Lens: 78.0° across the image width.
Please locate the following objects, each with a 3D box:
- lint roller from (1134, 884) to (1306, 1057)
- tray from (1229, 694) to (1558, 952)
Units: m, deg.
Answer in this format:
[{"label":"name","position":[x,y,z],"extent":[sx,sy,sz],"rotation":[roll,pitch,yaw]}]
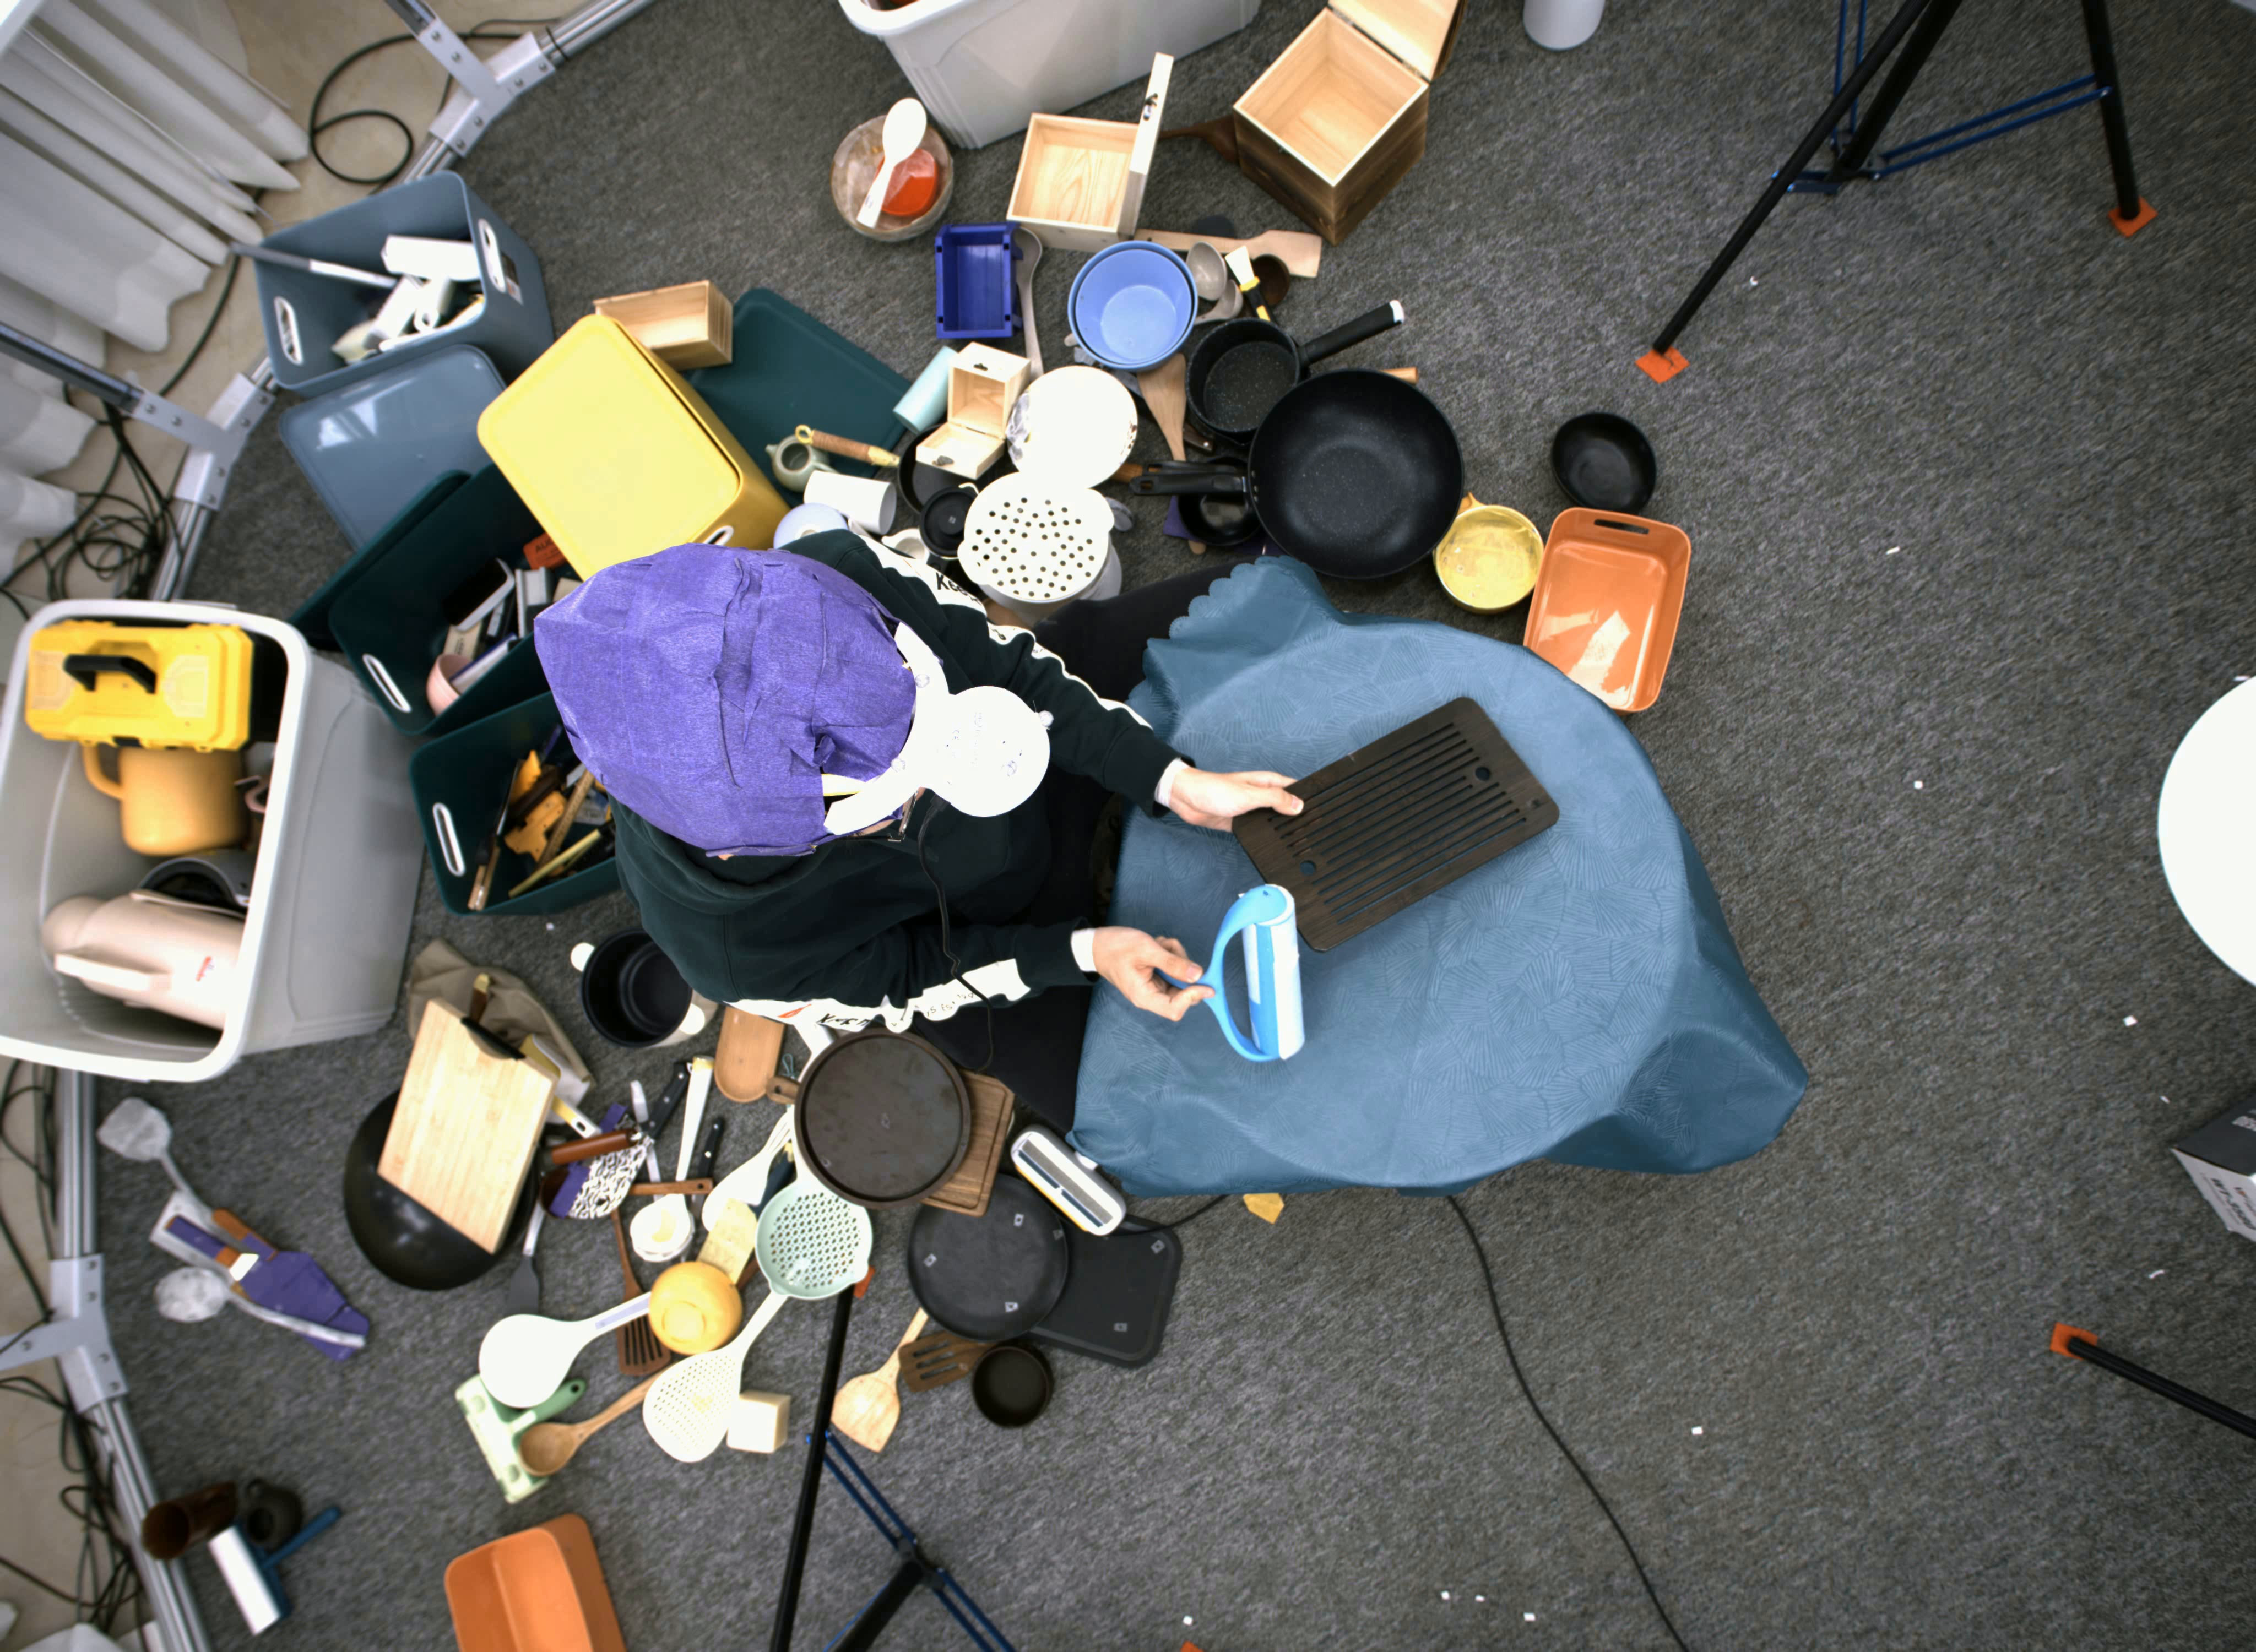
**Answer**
[{"label":"lint roller","position":[0.087,0.143,1.393],"extent":[0.181,0.234,0.066],"rotation":[2,45,18]},{"label":"tray","position":[0.268,-0.008,1.392],"extent":[0.304,0.019,0.168],"rotation":[-28,70,-11]}]
